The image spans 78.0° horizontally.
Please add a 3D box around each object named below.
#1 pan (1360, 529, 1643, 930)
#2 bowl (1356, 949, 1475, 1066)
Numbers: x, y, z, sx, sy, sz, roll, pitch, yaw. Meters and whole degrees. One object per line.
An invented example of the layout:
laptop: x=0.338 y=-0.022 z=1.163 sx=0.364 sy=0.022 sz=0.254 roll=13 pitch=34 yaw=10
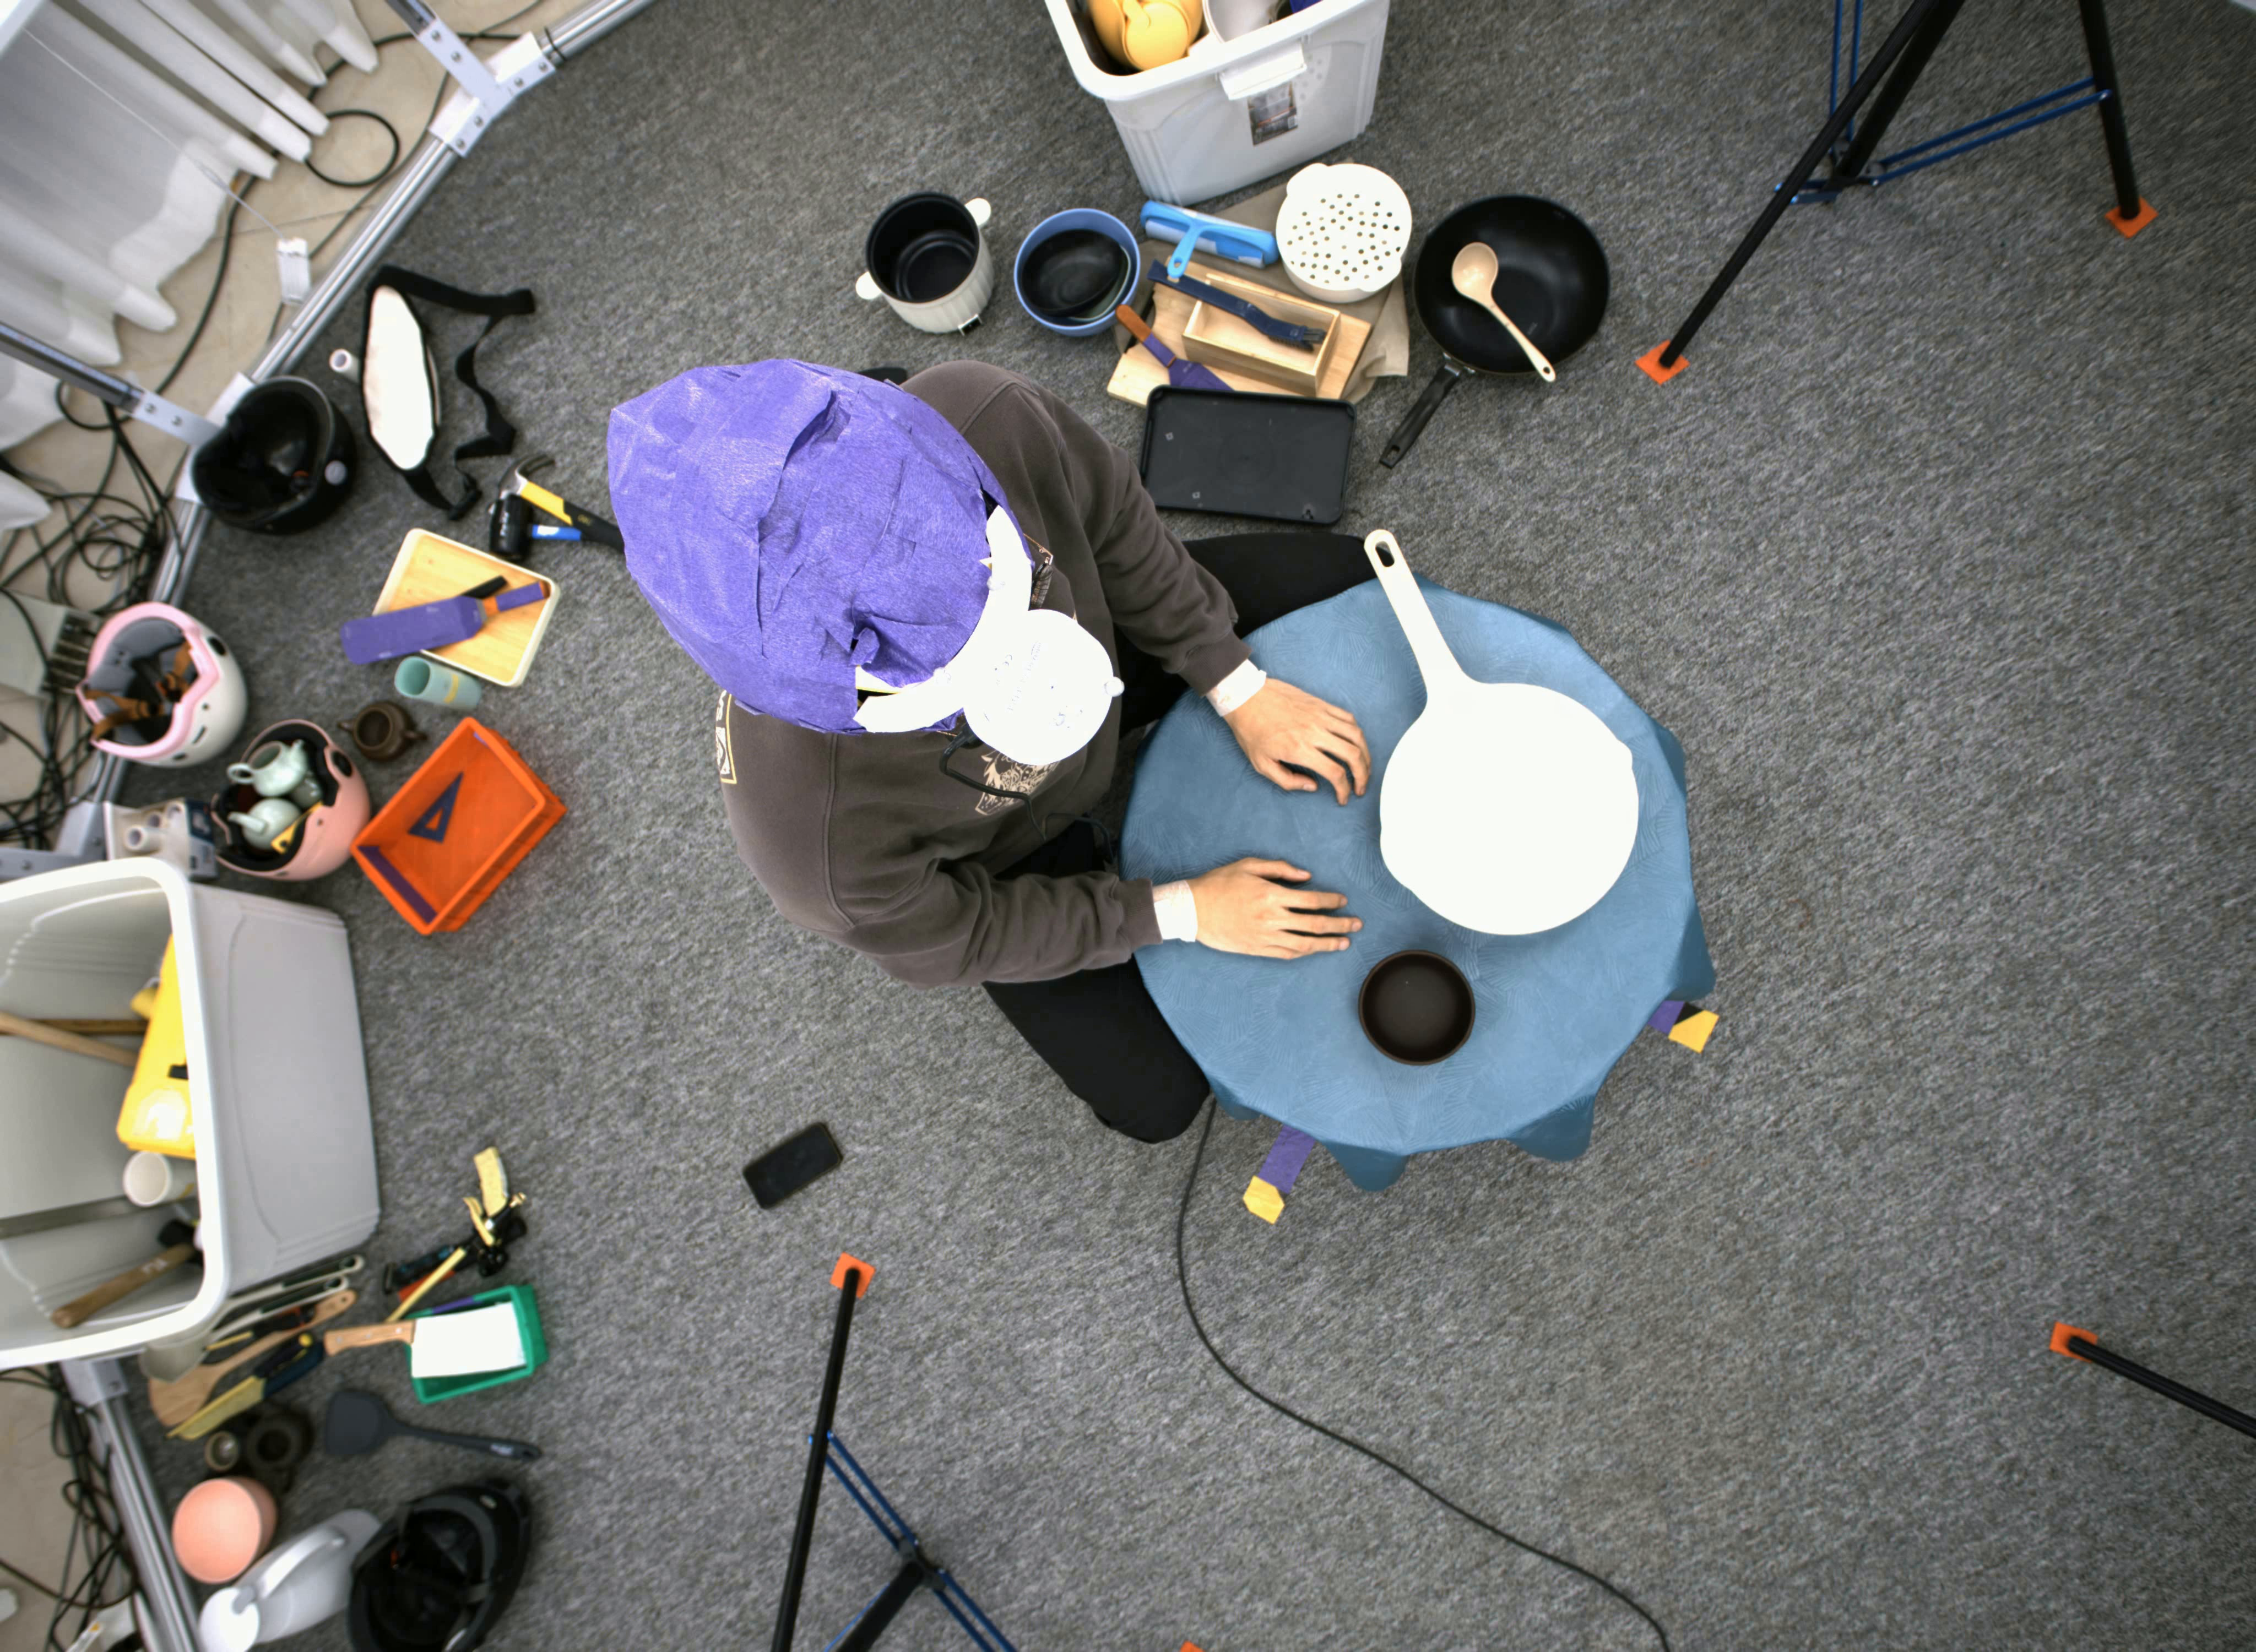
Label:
pan: x=0.347 y=-0.104 z=1.402 sx=0.265 sy=0.102 sz=0.432 roll=-26 pitch=83 yaw=10
bowl: x=0.293 y=0.183 z=1.411 sx=0.118 sy=0.070 sz=0.117 roll=-1 pitch=87 yaw=12
